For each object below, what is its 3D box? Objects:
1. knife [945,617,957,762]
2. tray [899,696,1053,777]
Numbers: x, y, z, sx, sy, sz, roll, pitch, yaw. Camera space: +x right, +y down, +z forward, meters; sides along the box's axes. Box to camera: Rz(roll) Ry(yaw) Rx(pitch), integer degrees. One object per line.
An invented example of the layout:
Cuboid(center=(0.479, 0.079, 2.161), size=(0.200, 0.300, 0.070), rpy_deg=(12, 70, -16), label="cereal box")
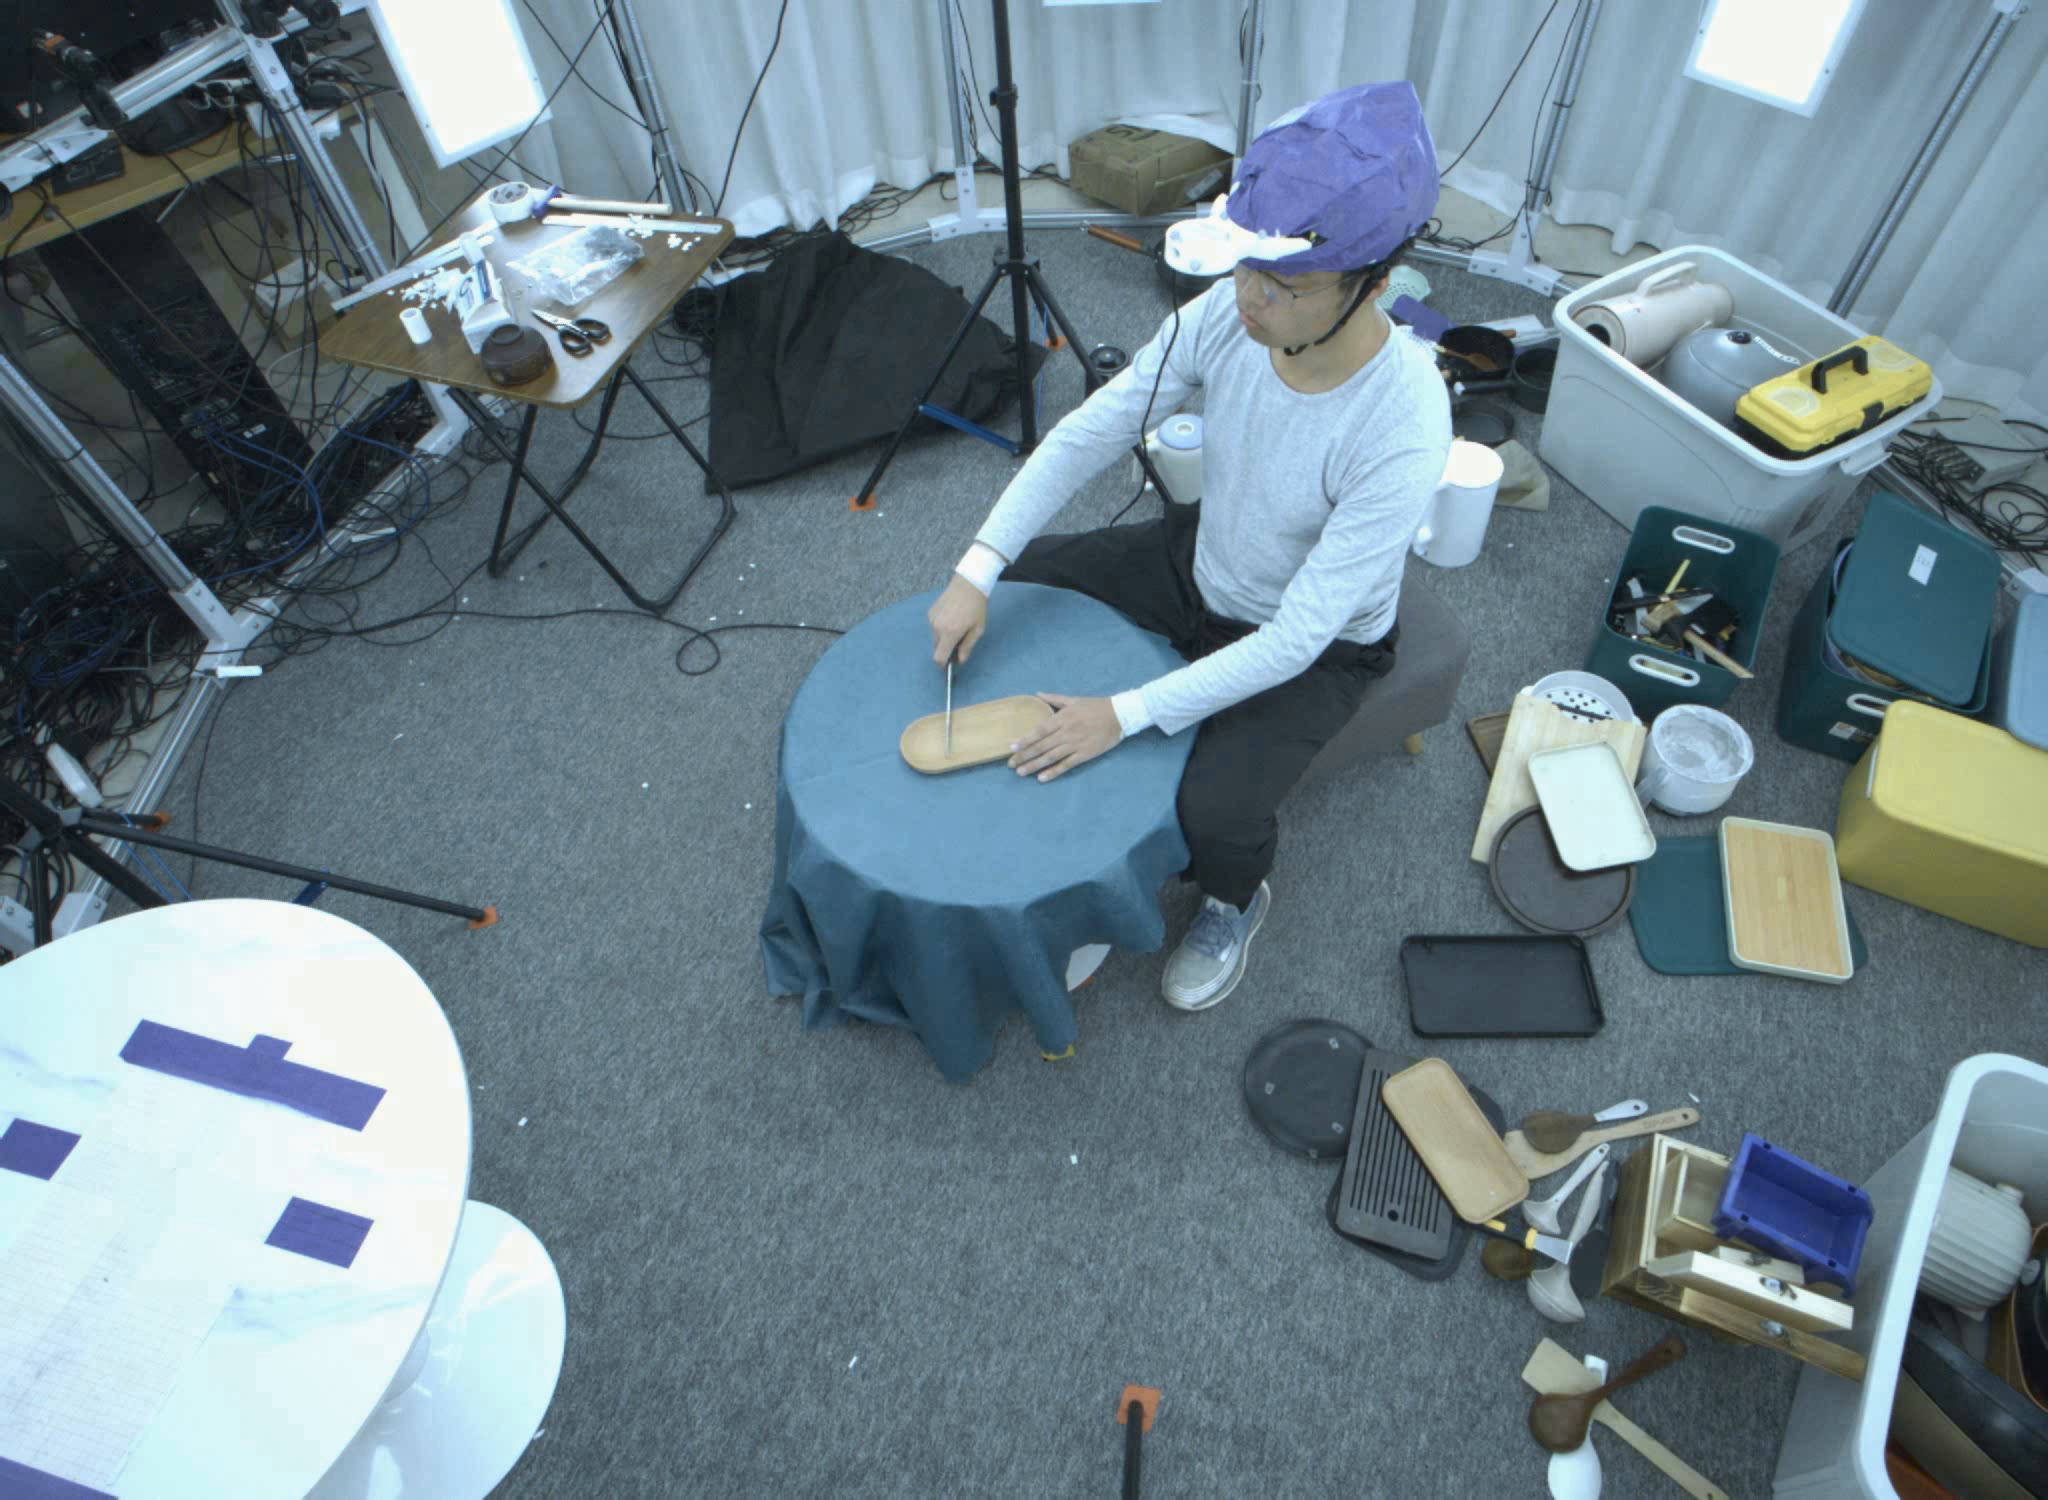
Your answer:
Cuboid(center=(-0.109, -0.094, 1.820), size=(0.016, 0.025, 0.236), rpy_deg=(-3, 69, 8), label="knife")
Cuboid(center=(-0.070, -0.020, 1.802), size=(0.232, 0.020, 0.100), rpy_deg=(-16, 53, -7), label="tray")
